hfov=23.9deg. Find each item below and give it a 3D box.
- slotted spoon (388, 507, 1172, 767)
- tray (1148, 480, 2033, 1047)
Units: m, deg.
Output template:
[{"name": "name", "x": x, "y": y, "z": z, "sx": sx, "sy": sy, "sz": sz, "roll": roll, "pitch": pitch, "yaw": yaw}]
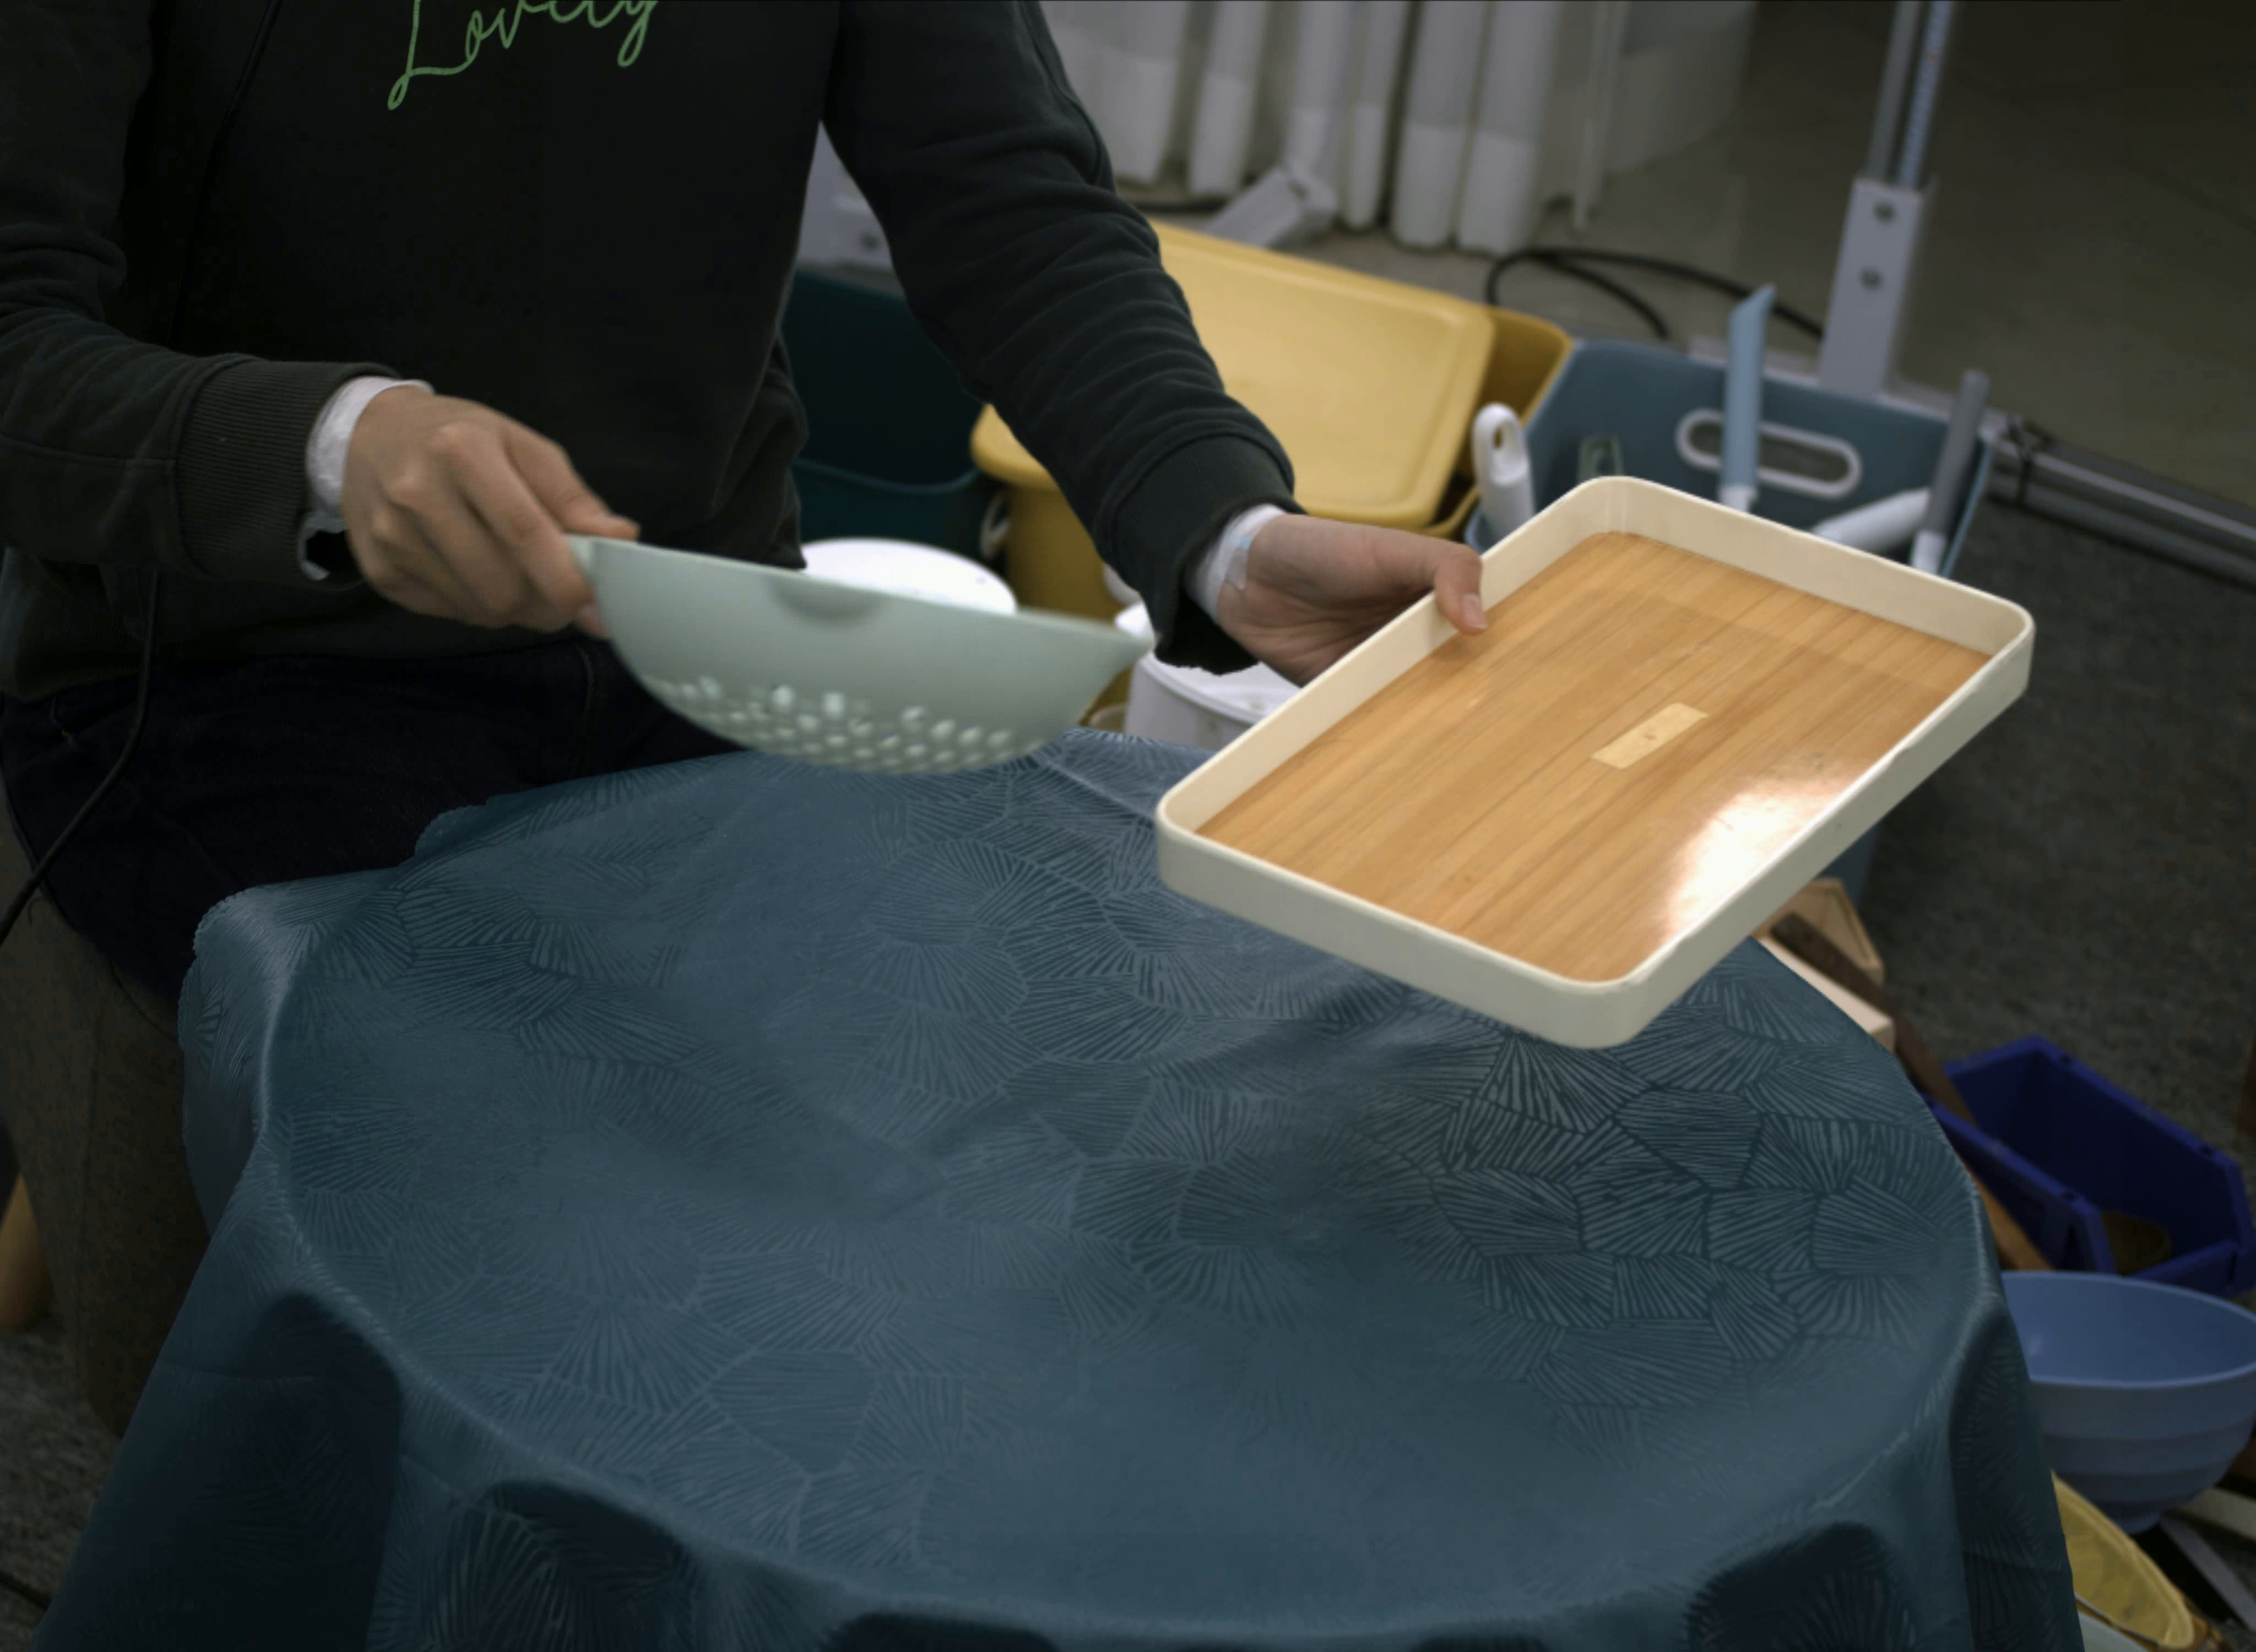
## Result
[{"name": "slotted spoon", "x": -0.141, "y": -0.076, "z": 1.715, "sx": 0.168, "sy": 0.075, "sz": 0.361, "roll": 7, "pitch": 11, "yaw": -39}, {"name": "tray", "x": 0.163, "y": -0.028, "z": 1.842, "sx": 0.193, "sy": 0.027, "sz": 0.300, "roll": 21, "pitch": 38, "yaw": 31}]
